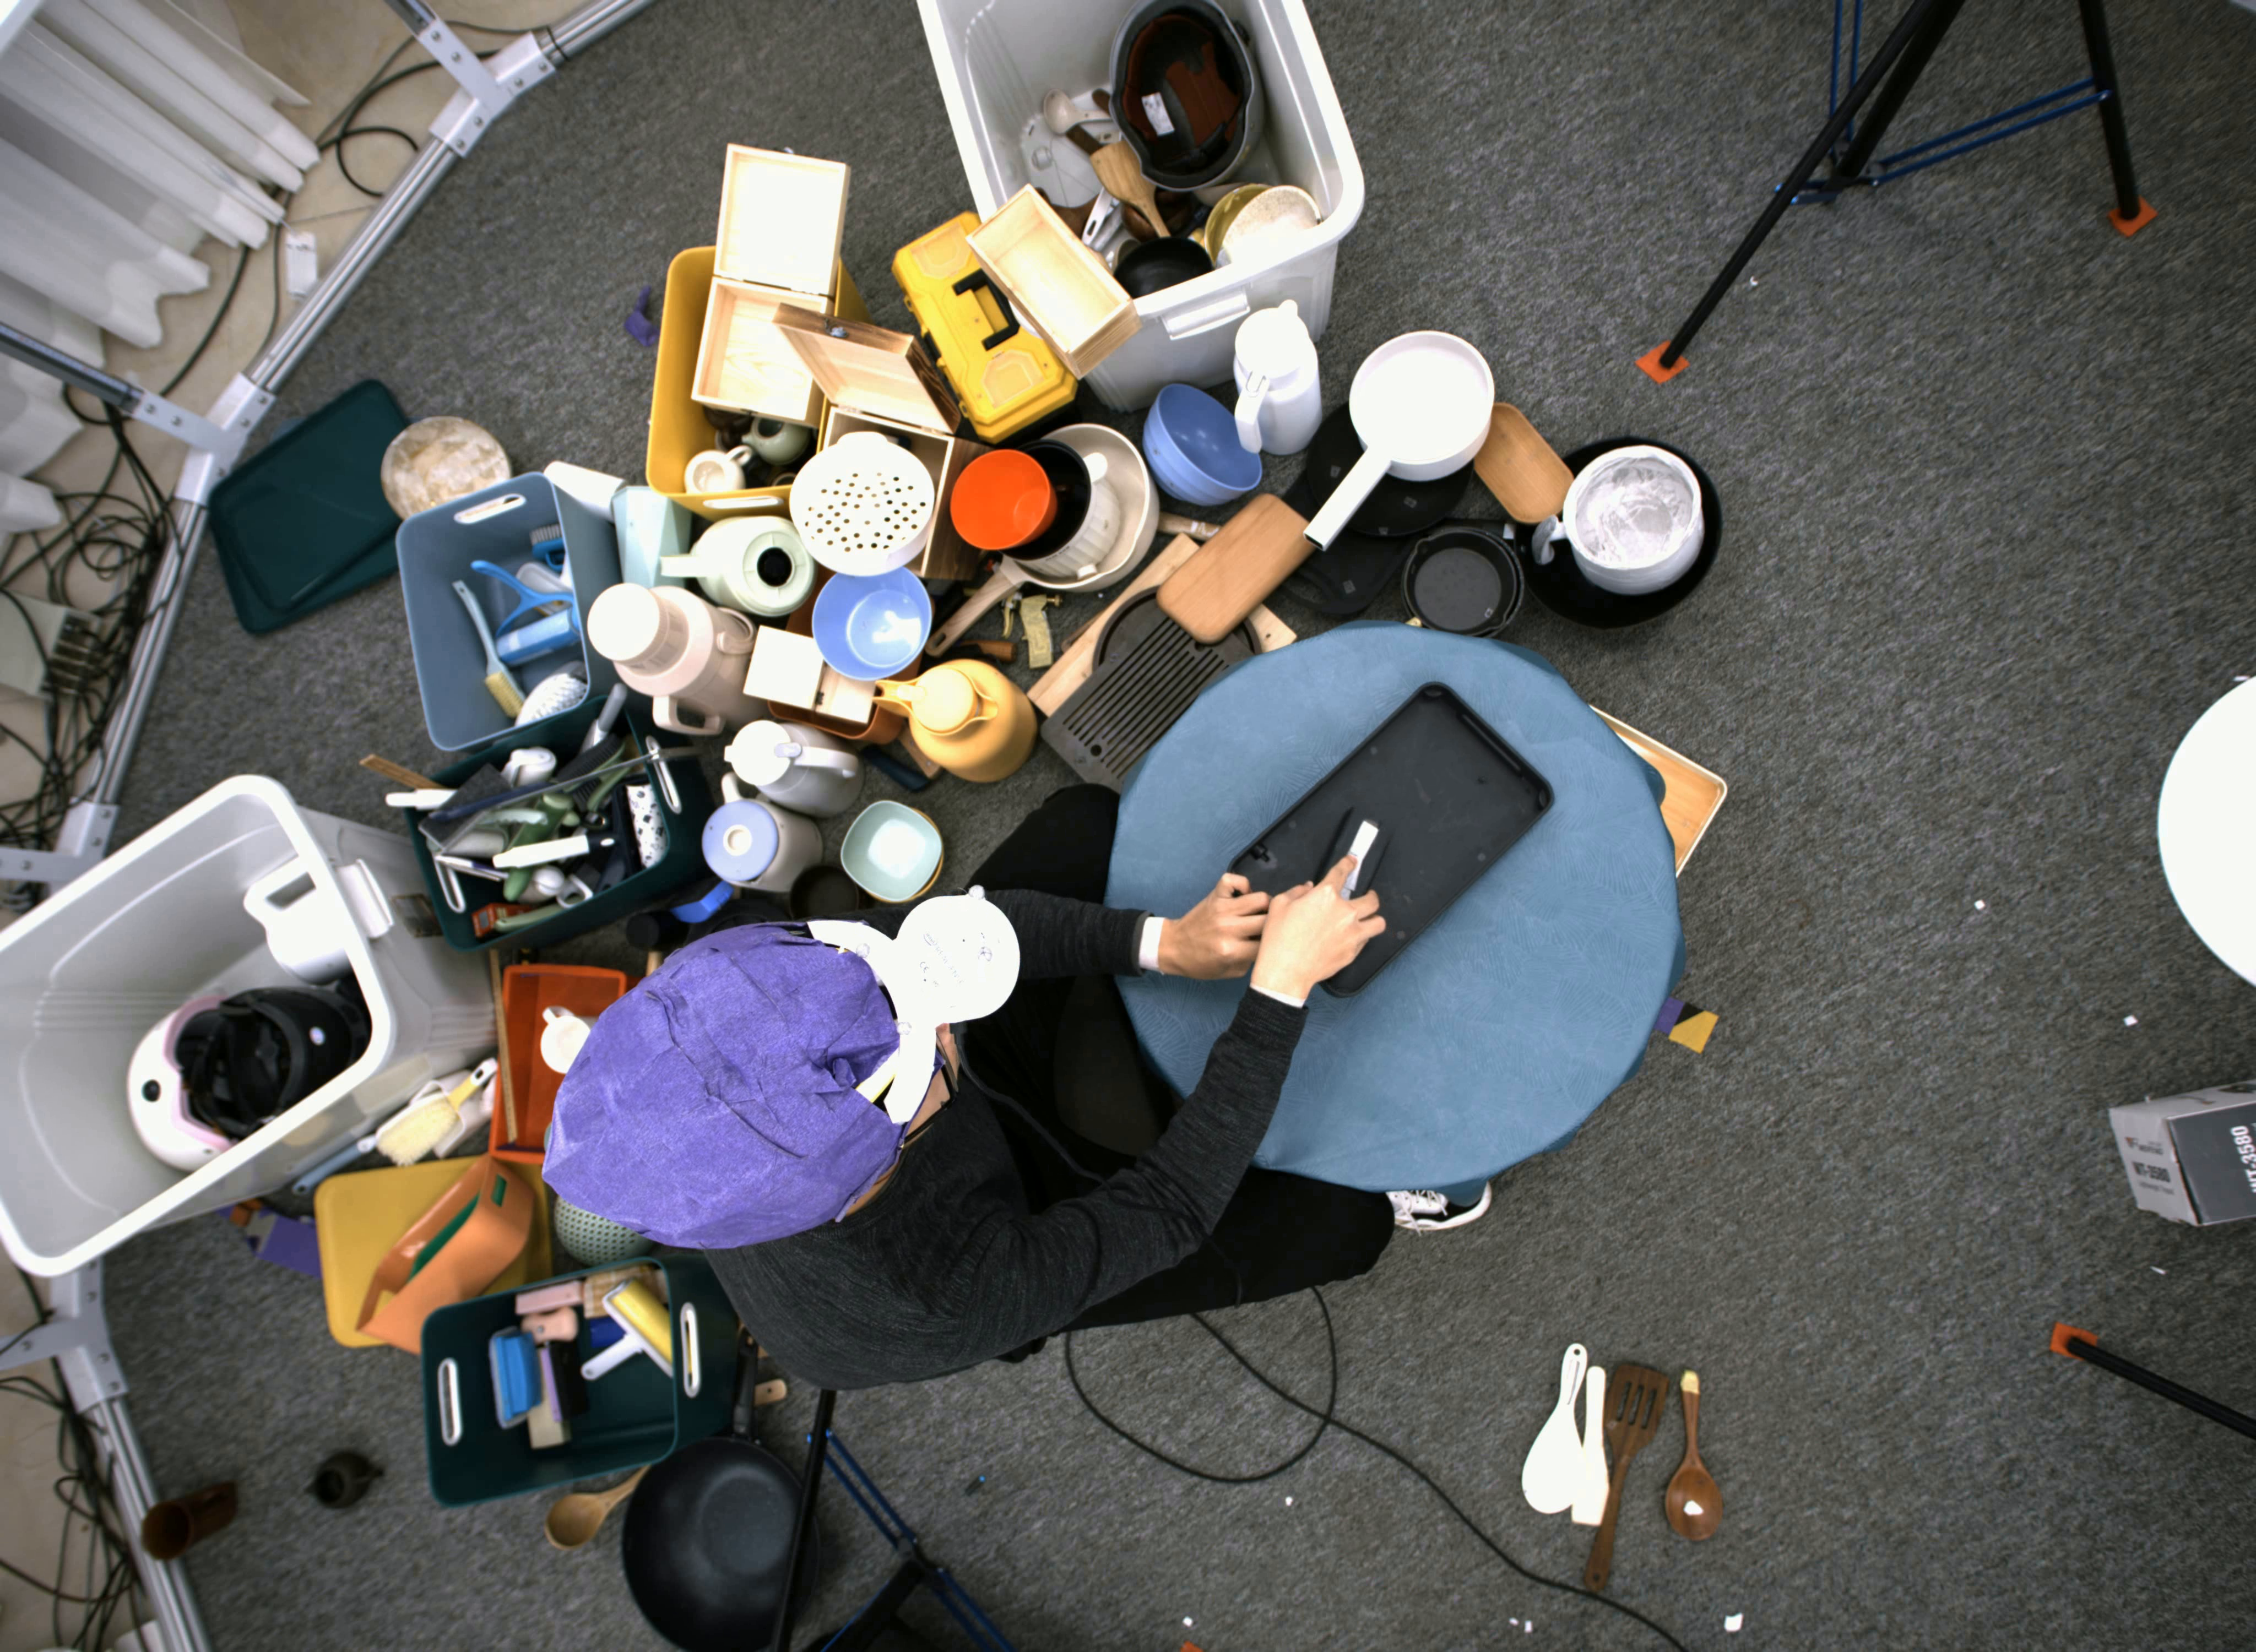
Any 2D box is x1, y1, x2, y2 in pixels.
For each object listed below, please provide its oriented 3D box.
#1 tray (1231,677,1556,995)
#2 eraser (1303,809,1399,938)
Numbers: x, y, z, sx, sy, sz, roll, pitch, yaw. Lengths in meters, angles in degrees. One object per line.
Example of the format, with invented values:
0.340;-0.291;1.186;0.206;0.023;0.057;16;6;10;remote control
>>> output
0.271;0.007;1.412;0.316;0.037;0.183;-44;81;-8;tray
0.225;0.046;1.399;0.053;0.031;0.124;26;76;5;eraser
